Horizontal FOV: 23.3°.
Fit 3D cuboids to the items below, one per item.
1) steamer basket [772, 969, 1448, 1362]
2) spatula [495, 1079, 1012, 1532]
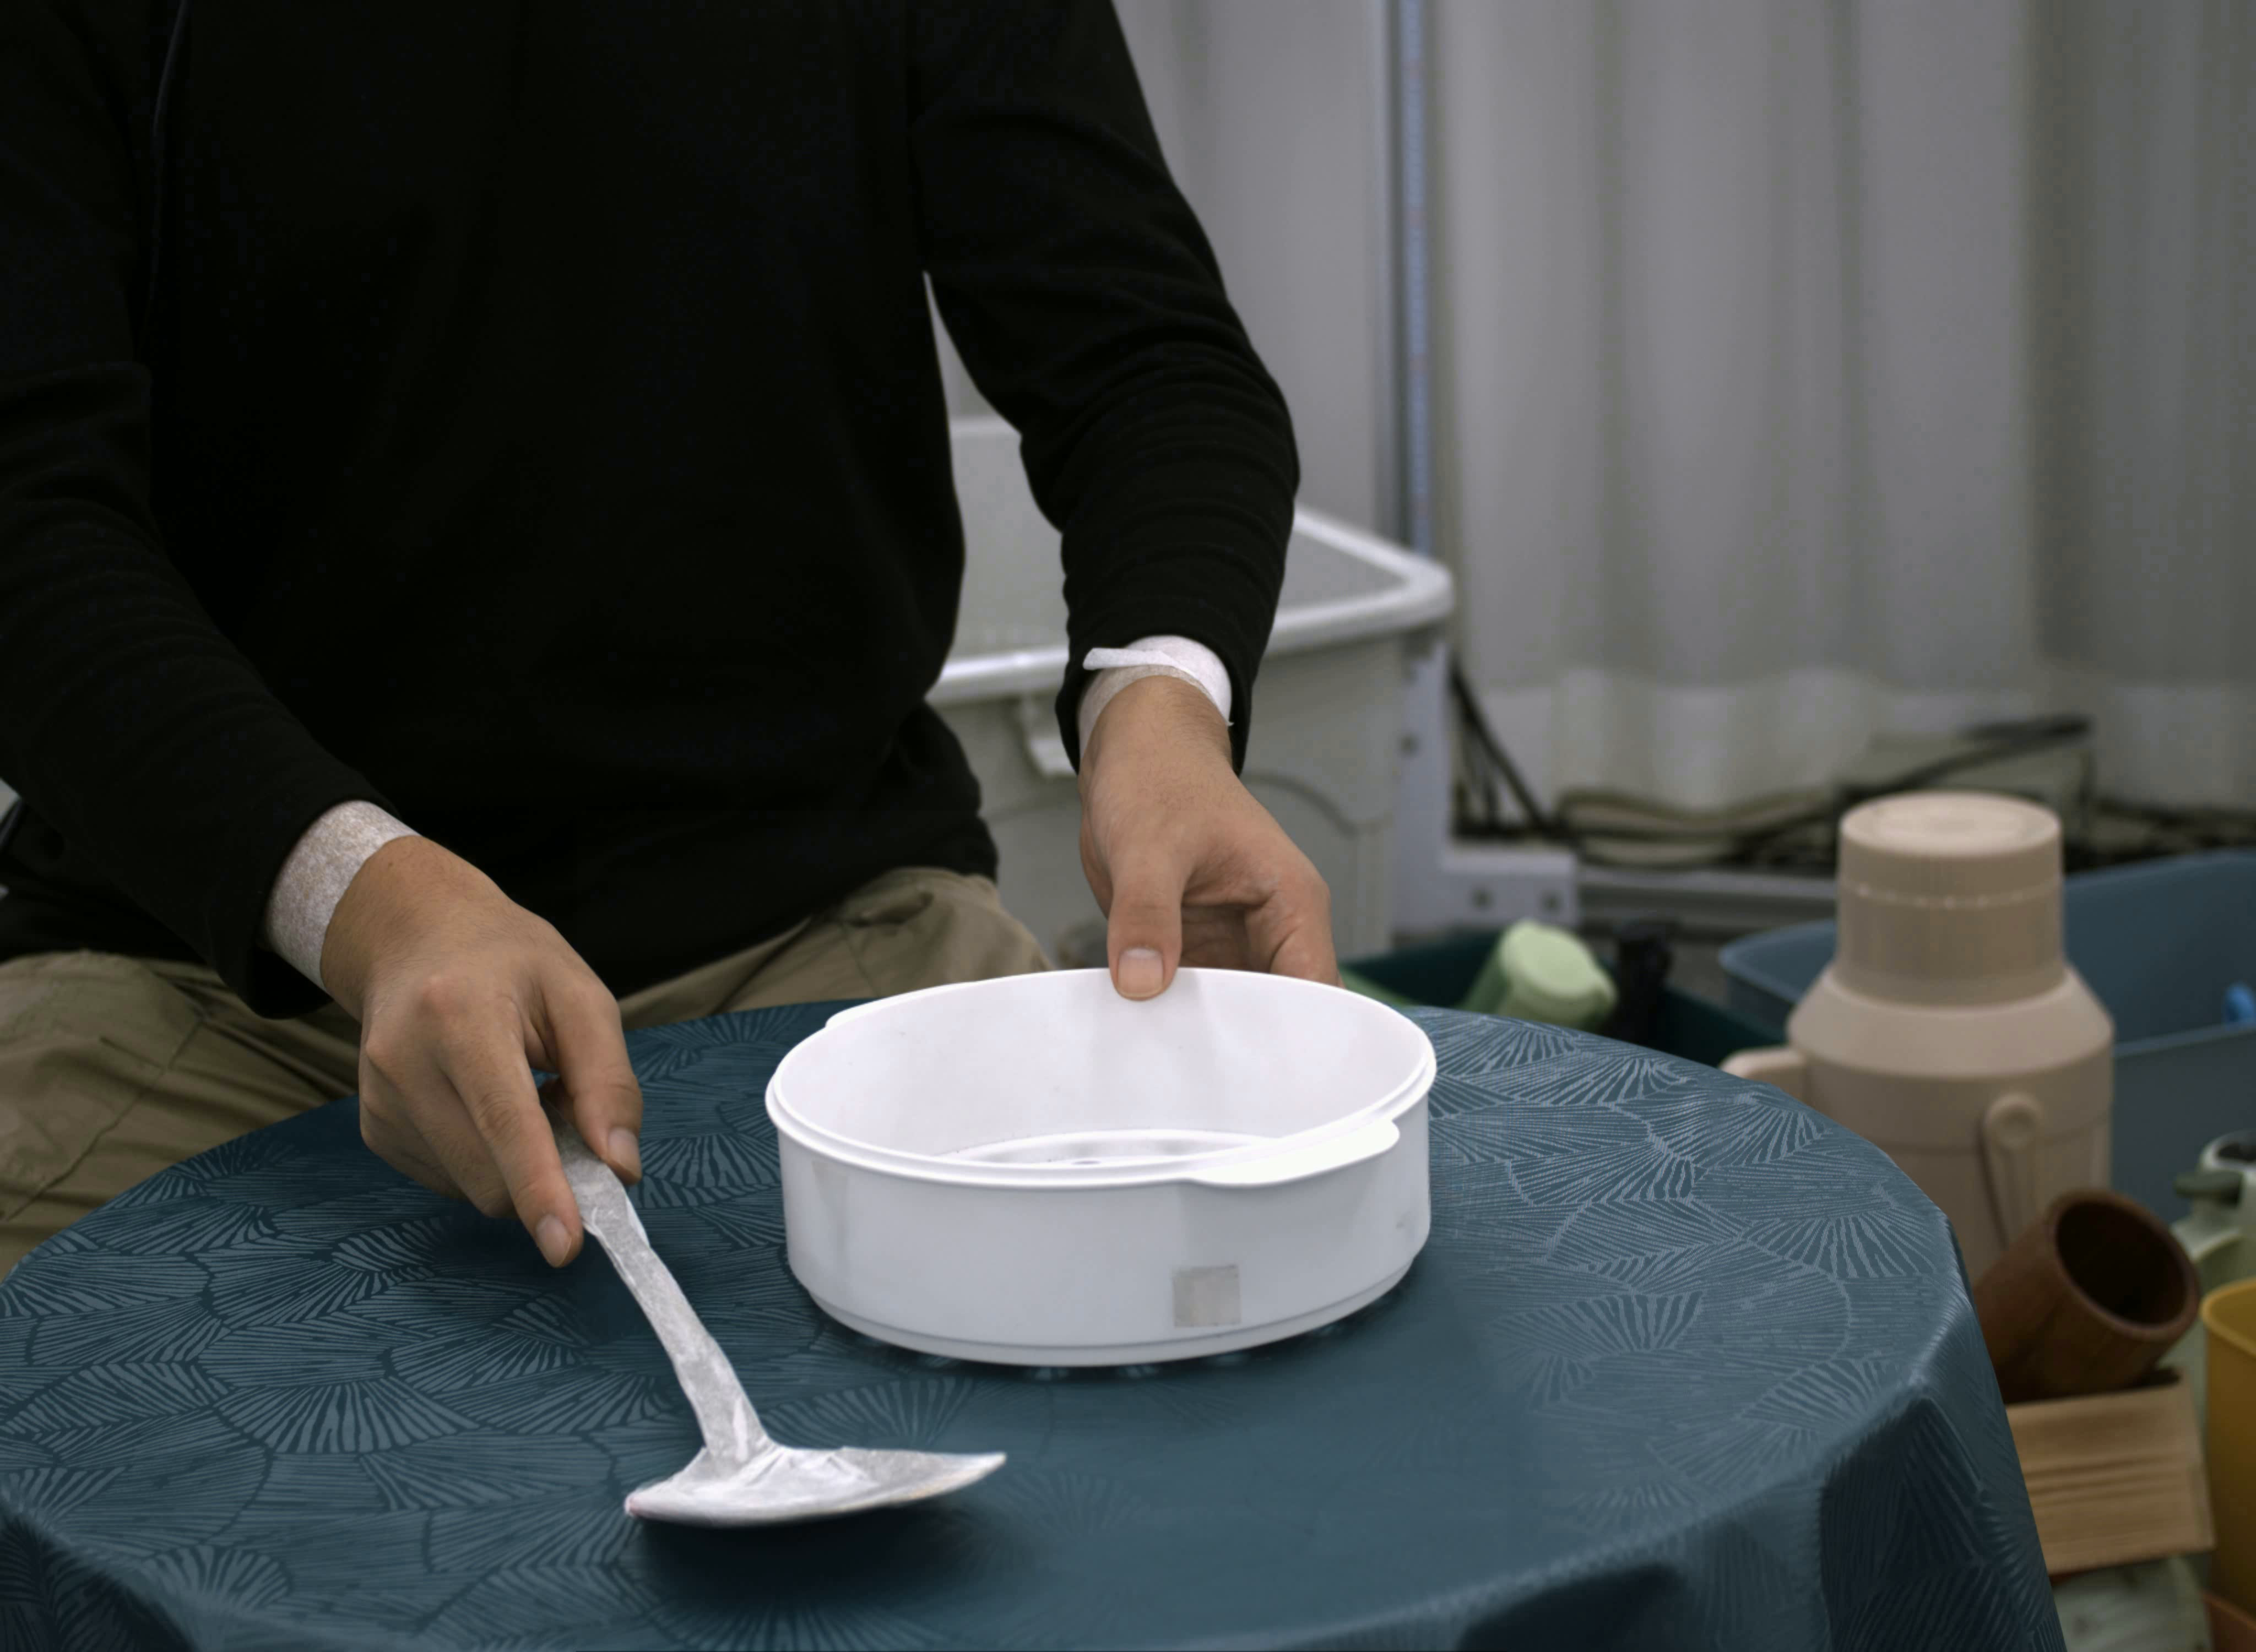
[{"bbox_3d":[-0.004,0.101,1.628,0.201,0.069,0.232,-12,17,-32],"label":"steamer basket"},{"bbox_3d":[-0.132,0.128,1.563,0.098,0.044,0.369,-10,24,-18],"label":"spatula"}]
